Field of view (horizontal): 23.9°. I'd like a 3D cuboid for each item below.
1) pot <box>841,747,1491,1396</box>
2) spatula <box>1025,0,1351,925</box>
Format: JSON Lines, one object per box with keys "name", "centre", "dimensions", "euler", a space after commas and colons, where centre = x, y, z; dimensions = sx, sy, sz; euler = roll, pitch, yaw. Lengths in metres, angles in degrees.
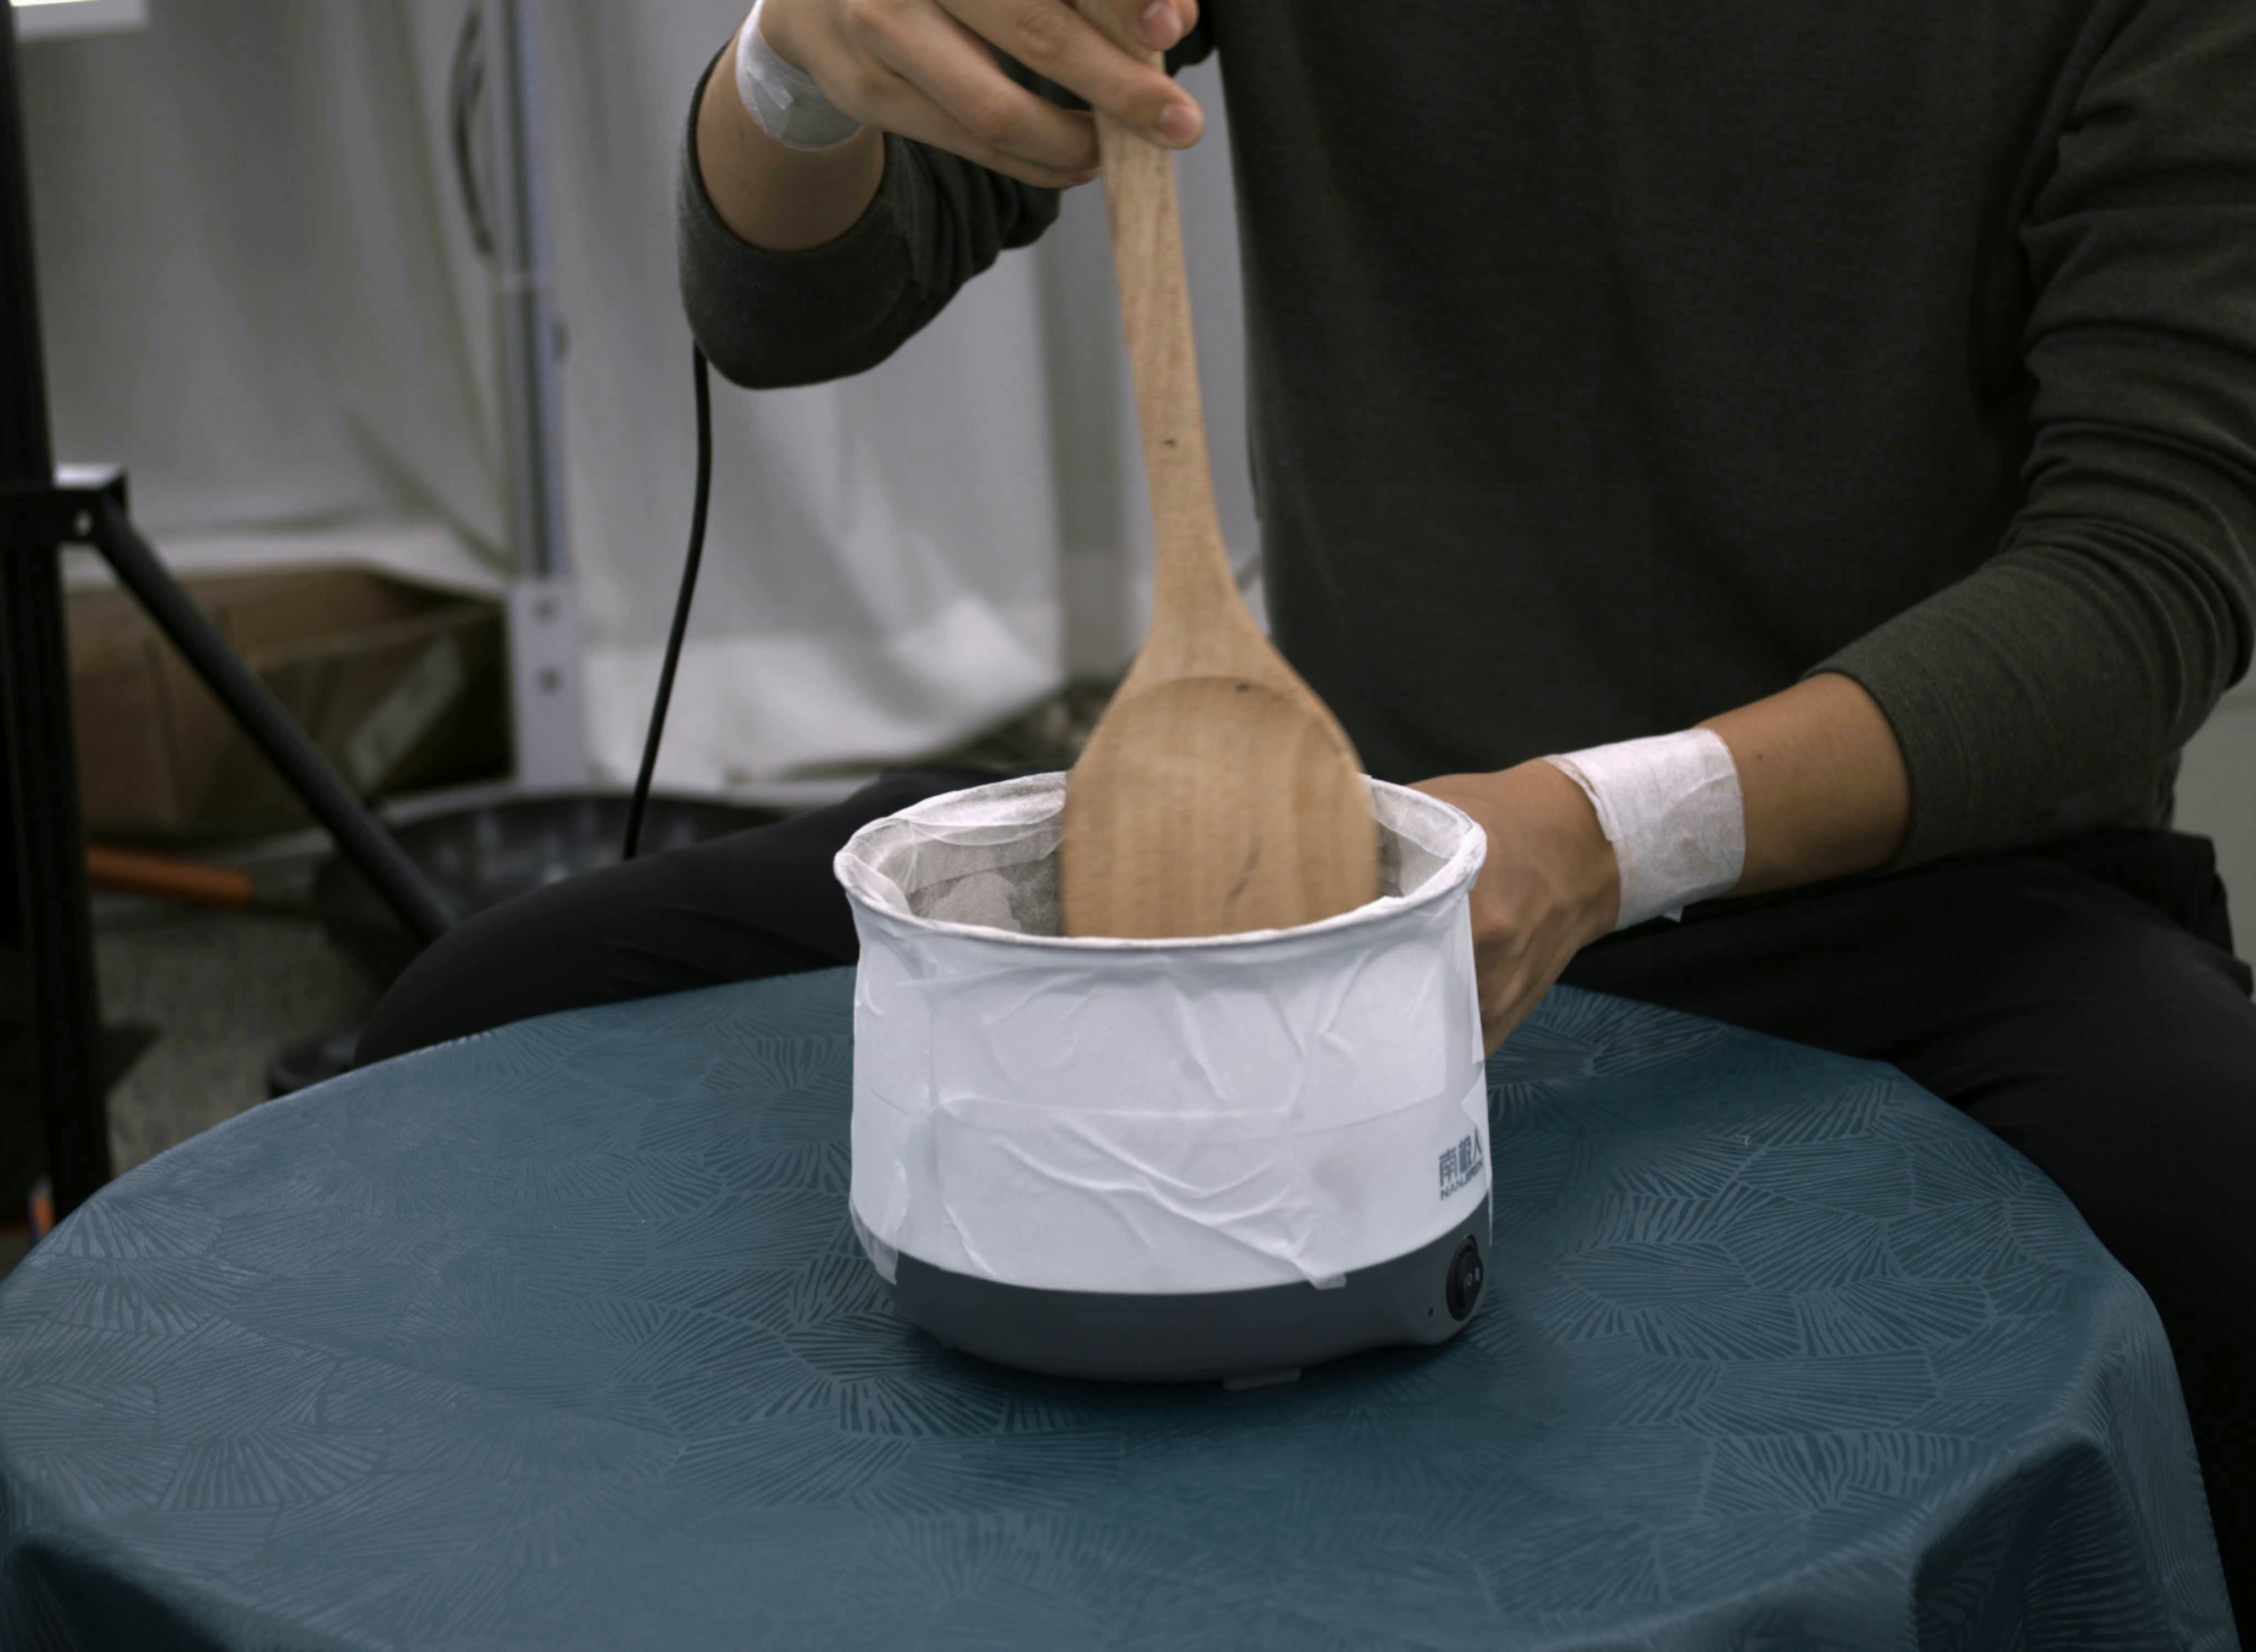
{"name": "pot", "centre": [0.023, 0.061, 1.478], "dimensions": [0.181, 0.136, 0.230], "euler": [5, 16, 25]}
{"name": "spatula", "centre": [0.000, -0.140, 1.474], "dimensions": [0.096, 0.391, 0.018], "euler": [-3, 10, 18]}
